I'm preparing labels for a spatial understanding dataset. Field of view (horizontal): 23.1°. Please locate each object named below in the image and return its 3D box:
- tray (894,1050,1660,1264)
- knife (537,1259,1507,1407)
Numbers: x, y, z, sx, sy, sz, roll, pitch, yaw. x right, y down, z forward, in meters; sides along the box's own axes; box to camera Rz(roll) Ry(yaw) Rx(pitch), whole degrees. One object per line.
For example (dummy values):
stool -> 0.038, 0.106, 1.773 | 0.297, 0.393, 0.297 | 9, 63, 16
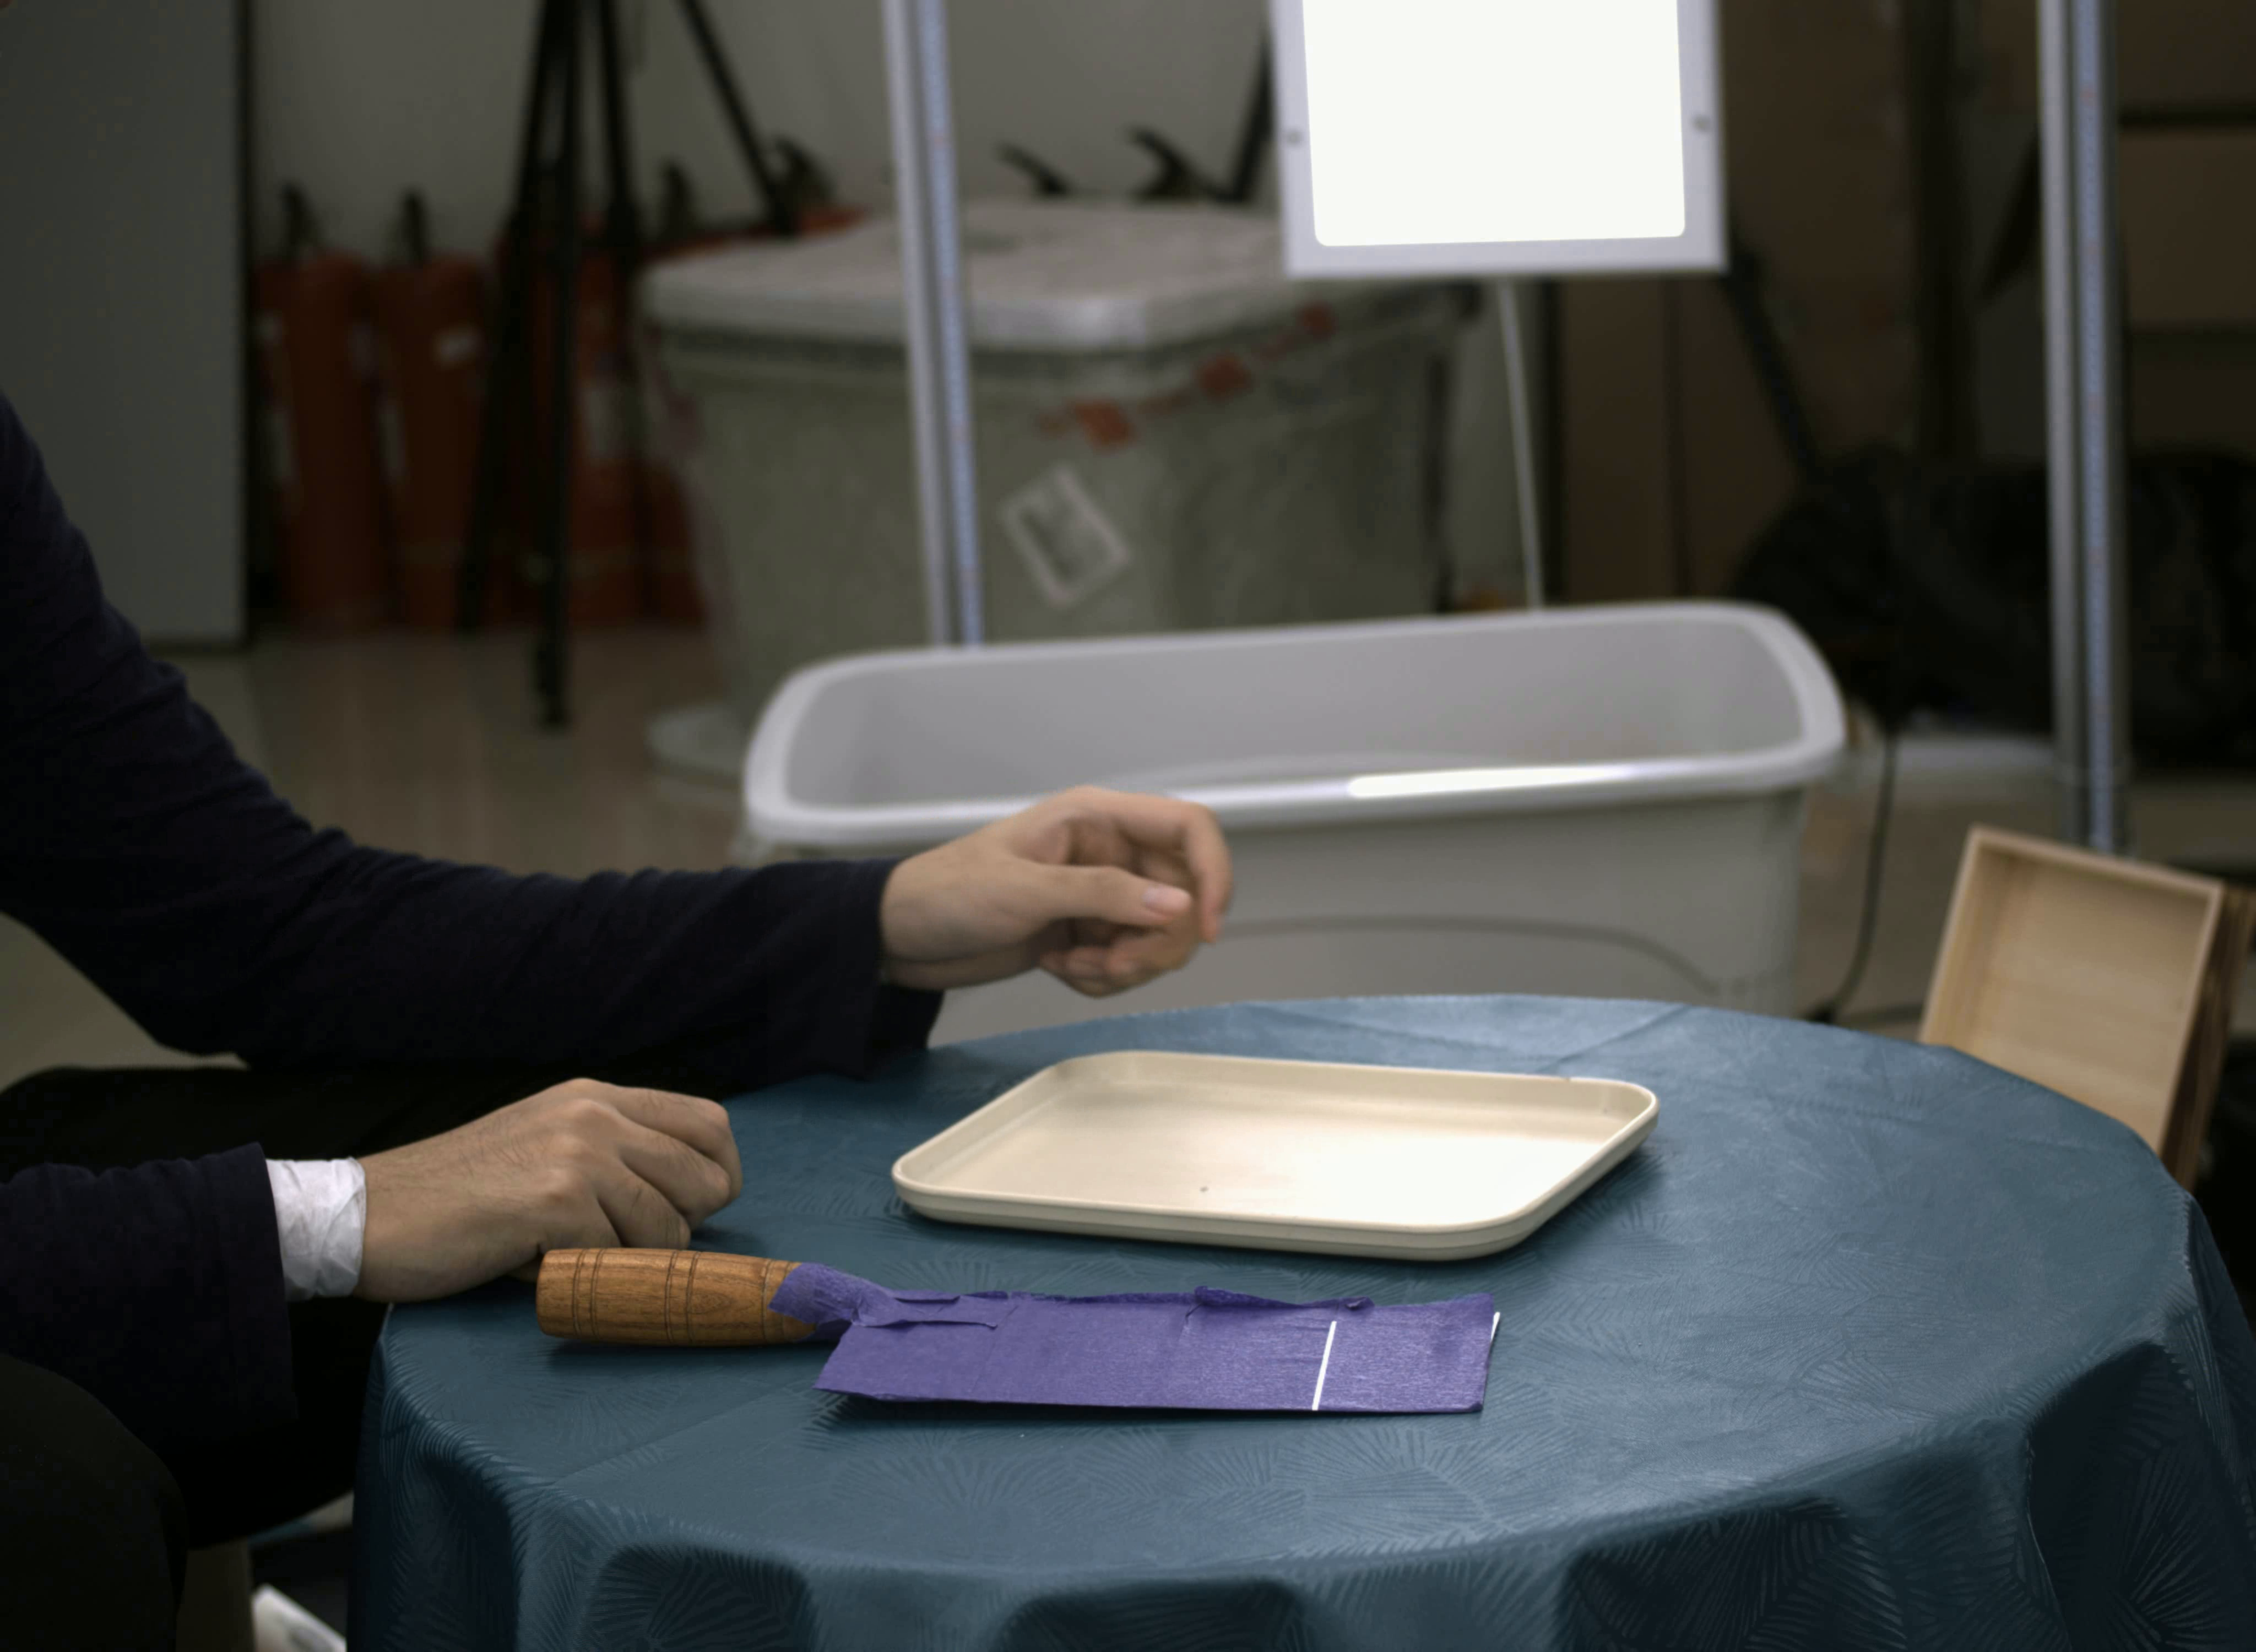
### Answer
tray -> 0.053, 0.114, 1.900 | 0.244, 0.017, 0.167 | 2, 16, 29
knife -> -0.039, 0.159, 1.729 | 0.317, 0.032, 0.103 | -2, 14, 11
